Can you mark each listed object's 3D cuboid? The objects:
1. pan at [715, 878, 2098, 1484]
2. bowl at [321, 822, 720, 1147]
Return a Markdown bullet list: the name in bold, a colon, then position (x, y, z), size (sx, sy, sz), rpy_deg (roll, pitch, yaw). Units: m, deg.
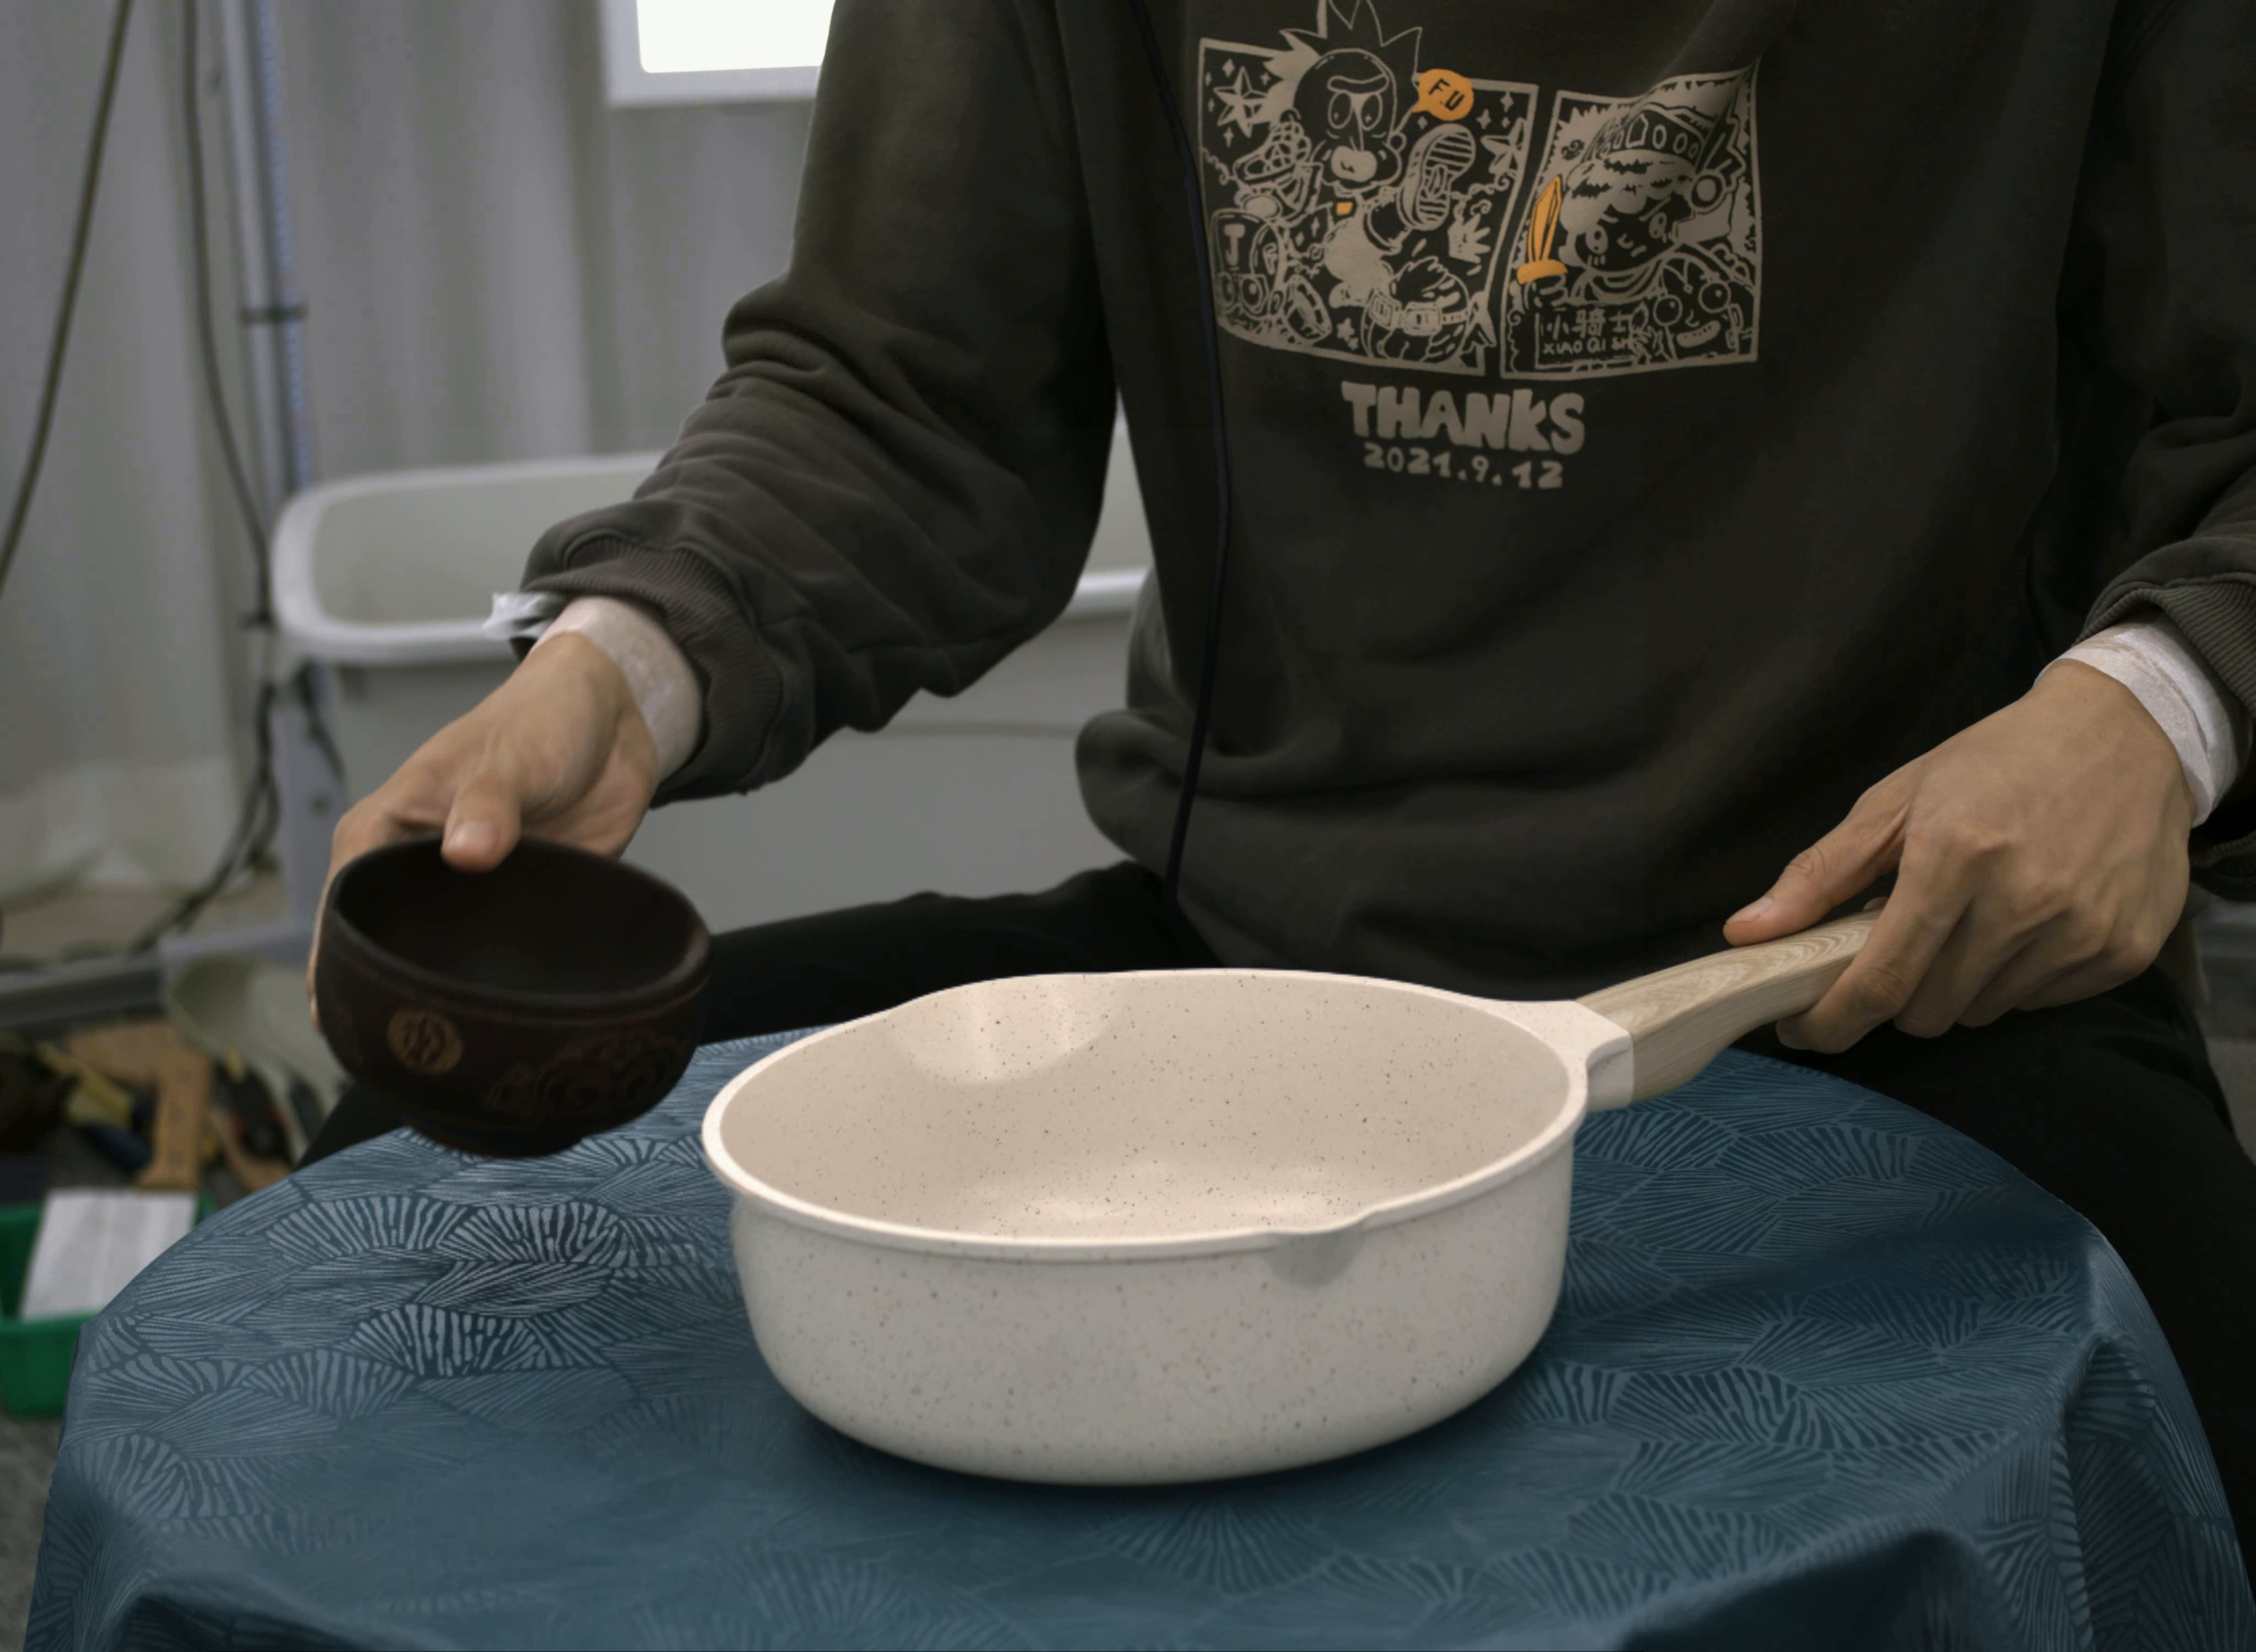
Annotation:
- **pan**: position (0.094, 0.096, 1.584), size (0.433, 0.101, 0.265), rpy_deg (-8, 14, -21)
- **bowl**: position (-0.184, 0.053, 1.642), size (0.117, 0.069, 0.119), rpy_deg (10, 21, -4)
